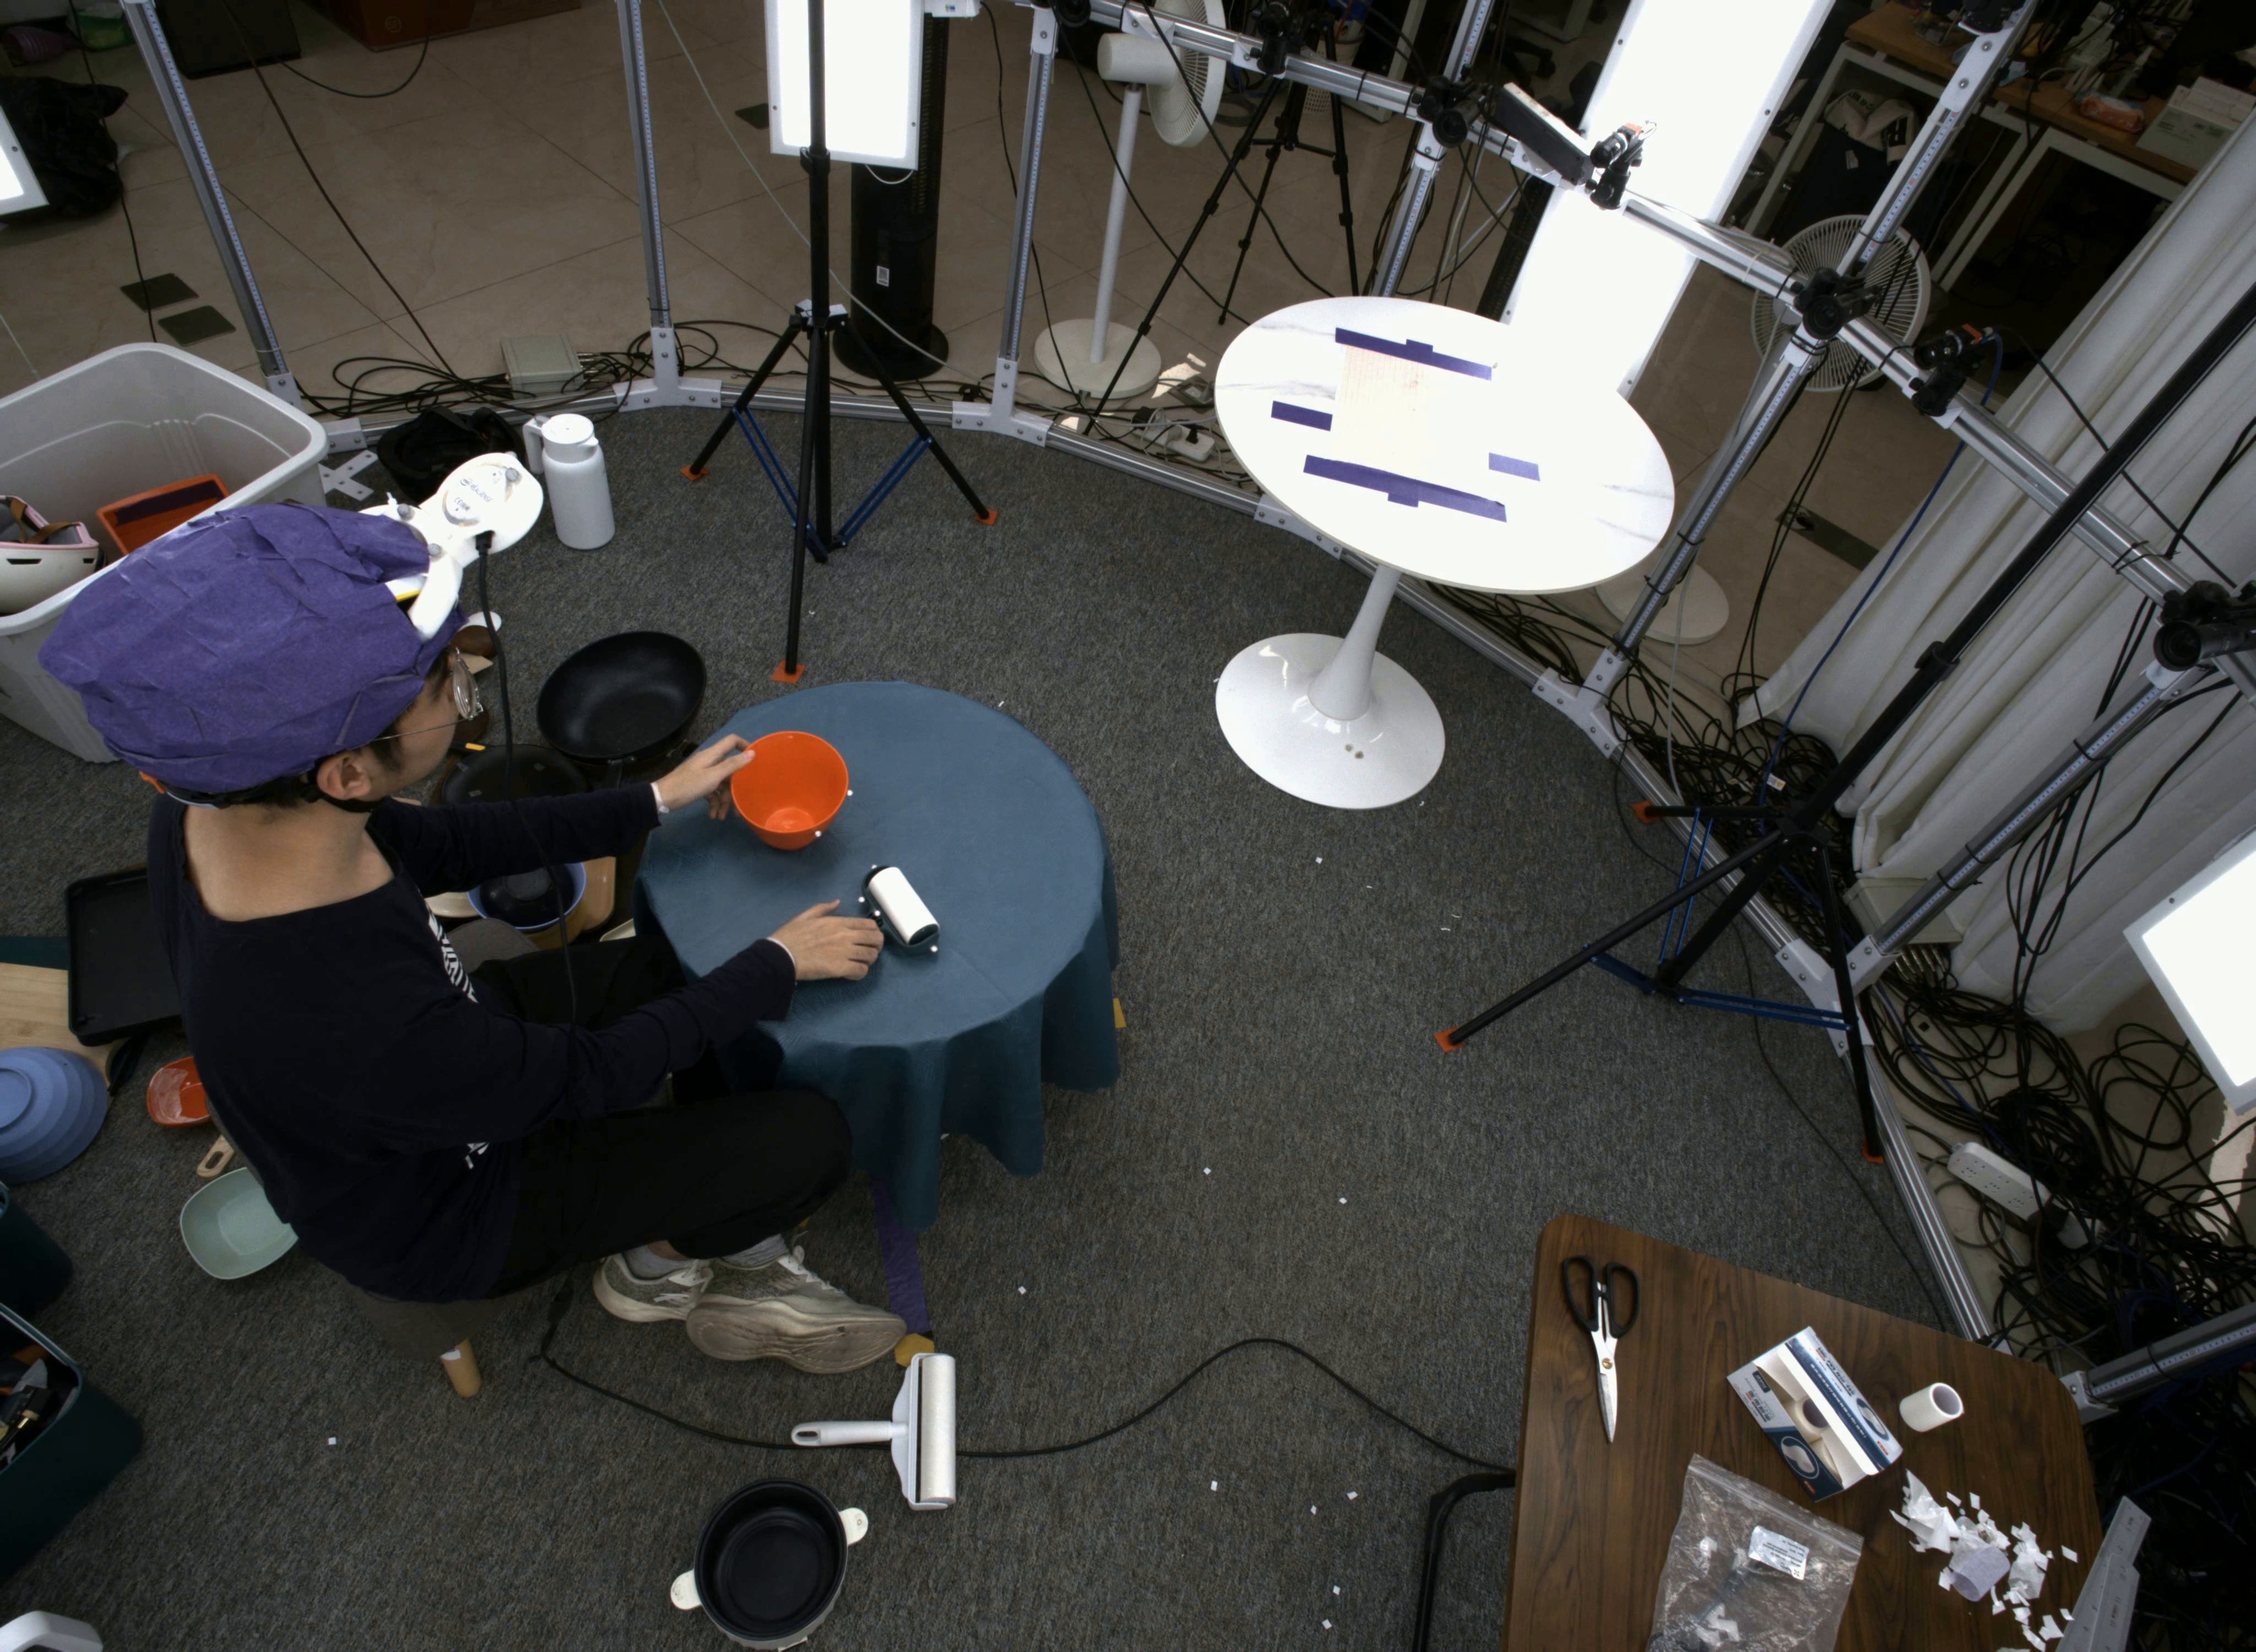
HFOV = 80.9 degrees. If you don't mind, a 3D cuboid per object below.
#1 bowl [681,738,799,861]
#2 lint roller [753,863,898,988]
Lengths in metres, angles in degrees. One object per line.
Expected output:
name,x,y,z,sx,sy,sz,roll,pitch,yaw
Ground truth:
bowl,-0.497,-0.023,1.671,0.147,0.107,0.145,6,54,-7
lint roller,-0.390,0.137,1.617,0.180,0.049,0.131,-32,66,-28
